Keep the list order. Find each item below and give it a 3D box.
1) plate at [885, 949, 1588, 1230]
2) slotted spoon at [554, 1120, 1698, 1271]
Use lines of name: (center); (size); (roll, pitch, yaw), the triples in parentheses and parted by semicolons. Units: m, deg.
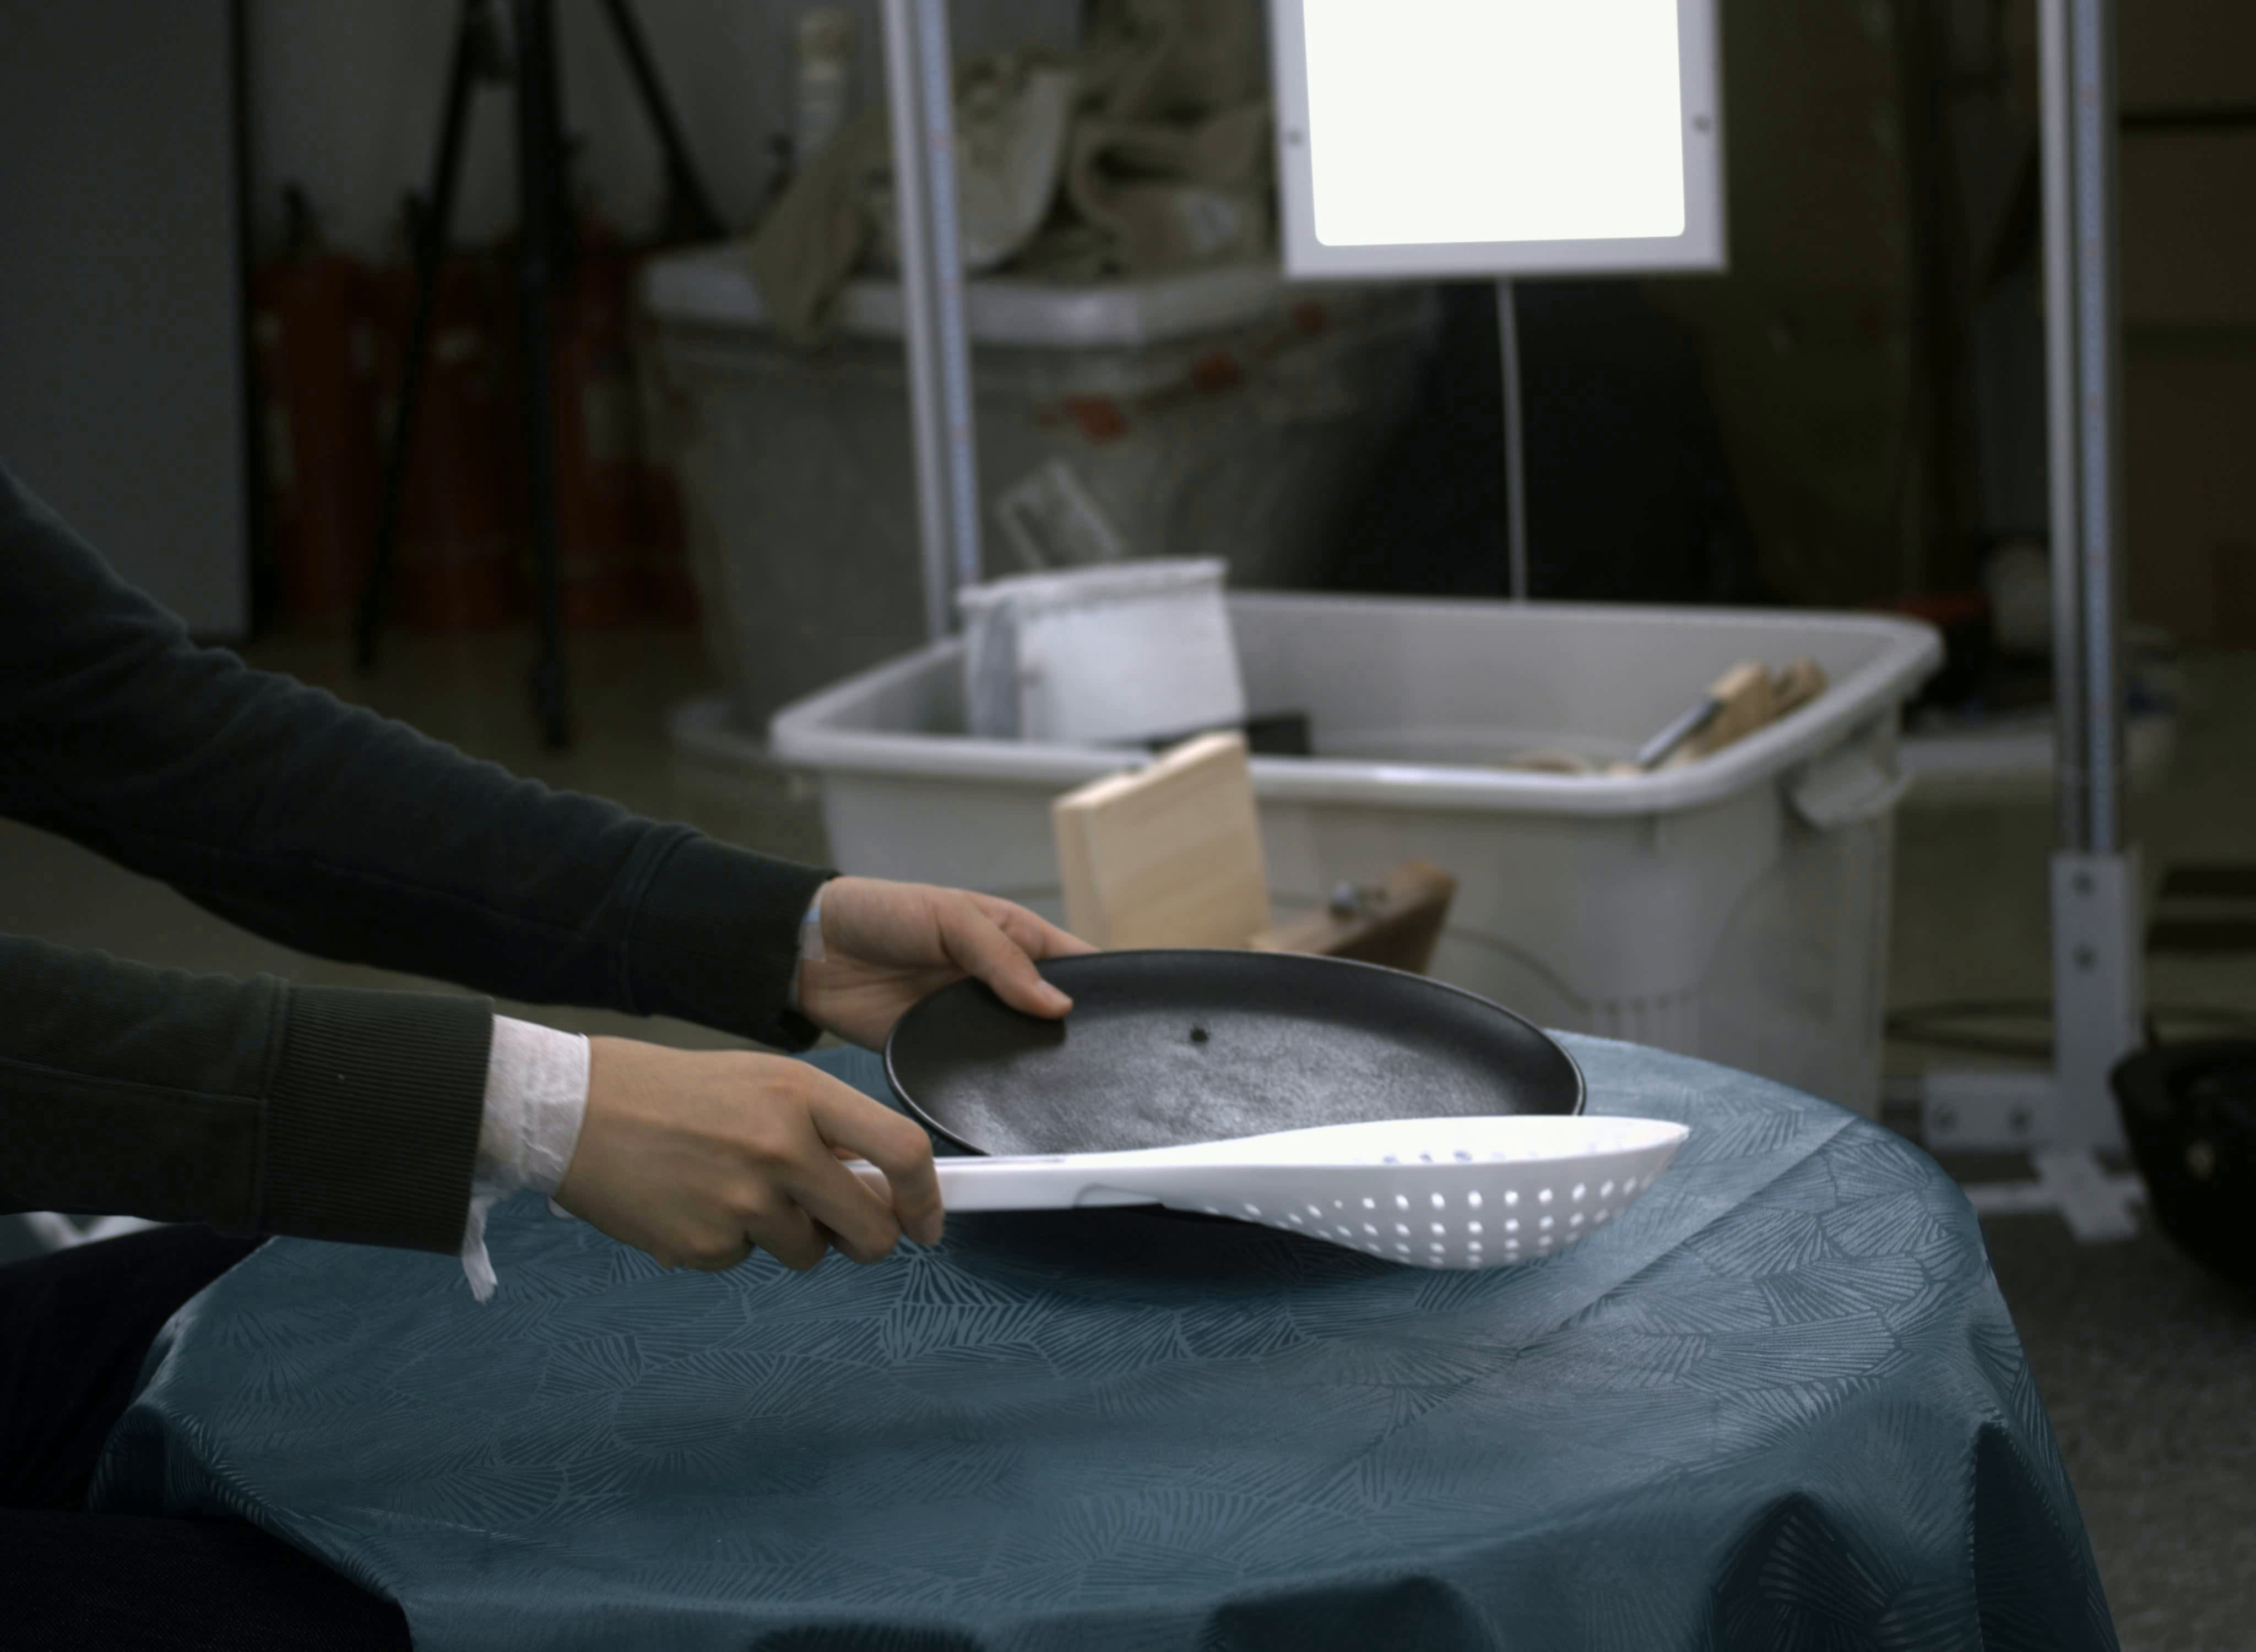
plate: (0.037, 0.093, 1.892); (0.243, 0.023, 0.244); (2, 19, -2)
slotted spoon: (-0.002, 0.107, 1.685); (0.350, 0.046, 0.135); (2, 2, 5)
